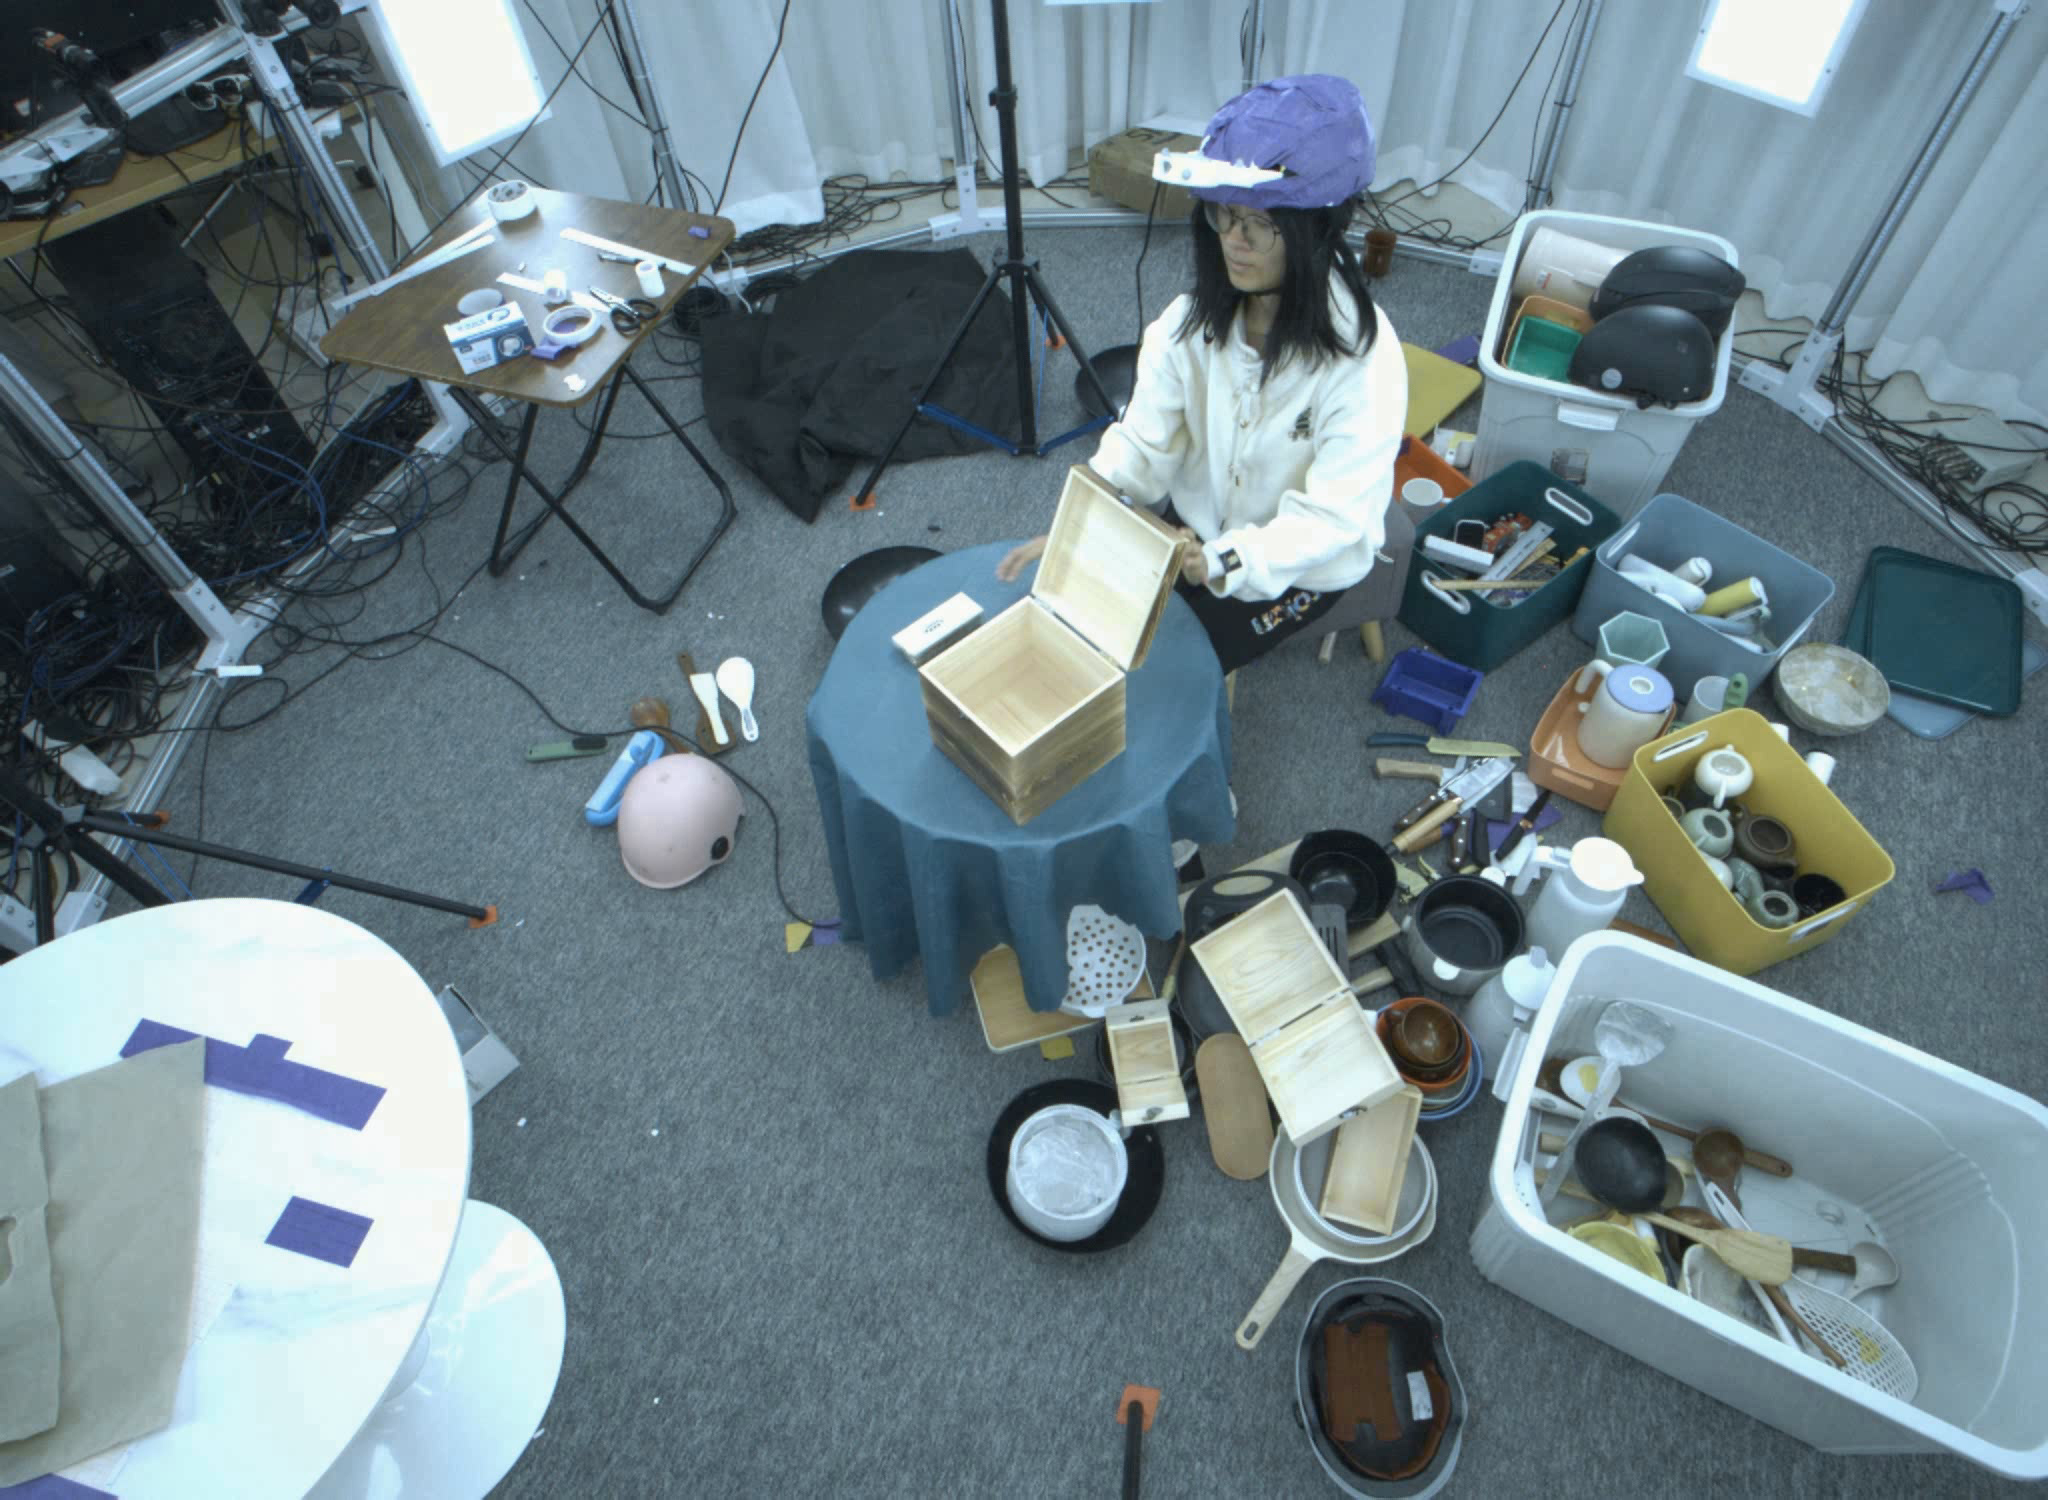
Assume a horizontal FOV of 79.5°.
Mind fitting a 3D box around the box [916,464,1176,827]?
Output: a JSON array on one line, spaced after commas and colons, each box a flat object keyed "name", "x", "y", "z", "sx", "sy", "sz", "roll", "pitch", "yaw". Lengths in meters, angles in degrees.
[{"name": "box", "x": 0.031, "y": -0.142, "z": 1.663, "sx": 0.324, "sy": 0.380, "sz": 0.205, "roll": -37, "pitch": 60, "yaw": -21}]

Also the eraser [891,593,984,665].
[{"name": "eraser", "x": -0.134, "y": -0.189, "z": 1.908, "sx": 0.140, "sy": 0.029, "sz": 0.056, "roll": -35, "pitch": 57, "yaw": -21}]
